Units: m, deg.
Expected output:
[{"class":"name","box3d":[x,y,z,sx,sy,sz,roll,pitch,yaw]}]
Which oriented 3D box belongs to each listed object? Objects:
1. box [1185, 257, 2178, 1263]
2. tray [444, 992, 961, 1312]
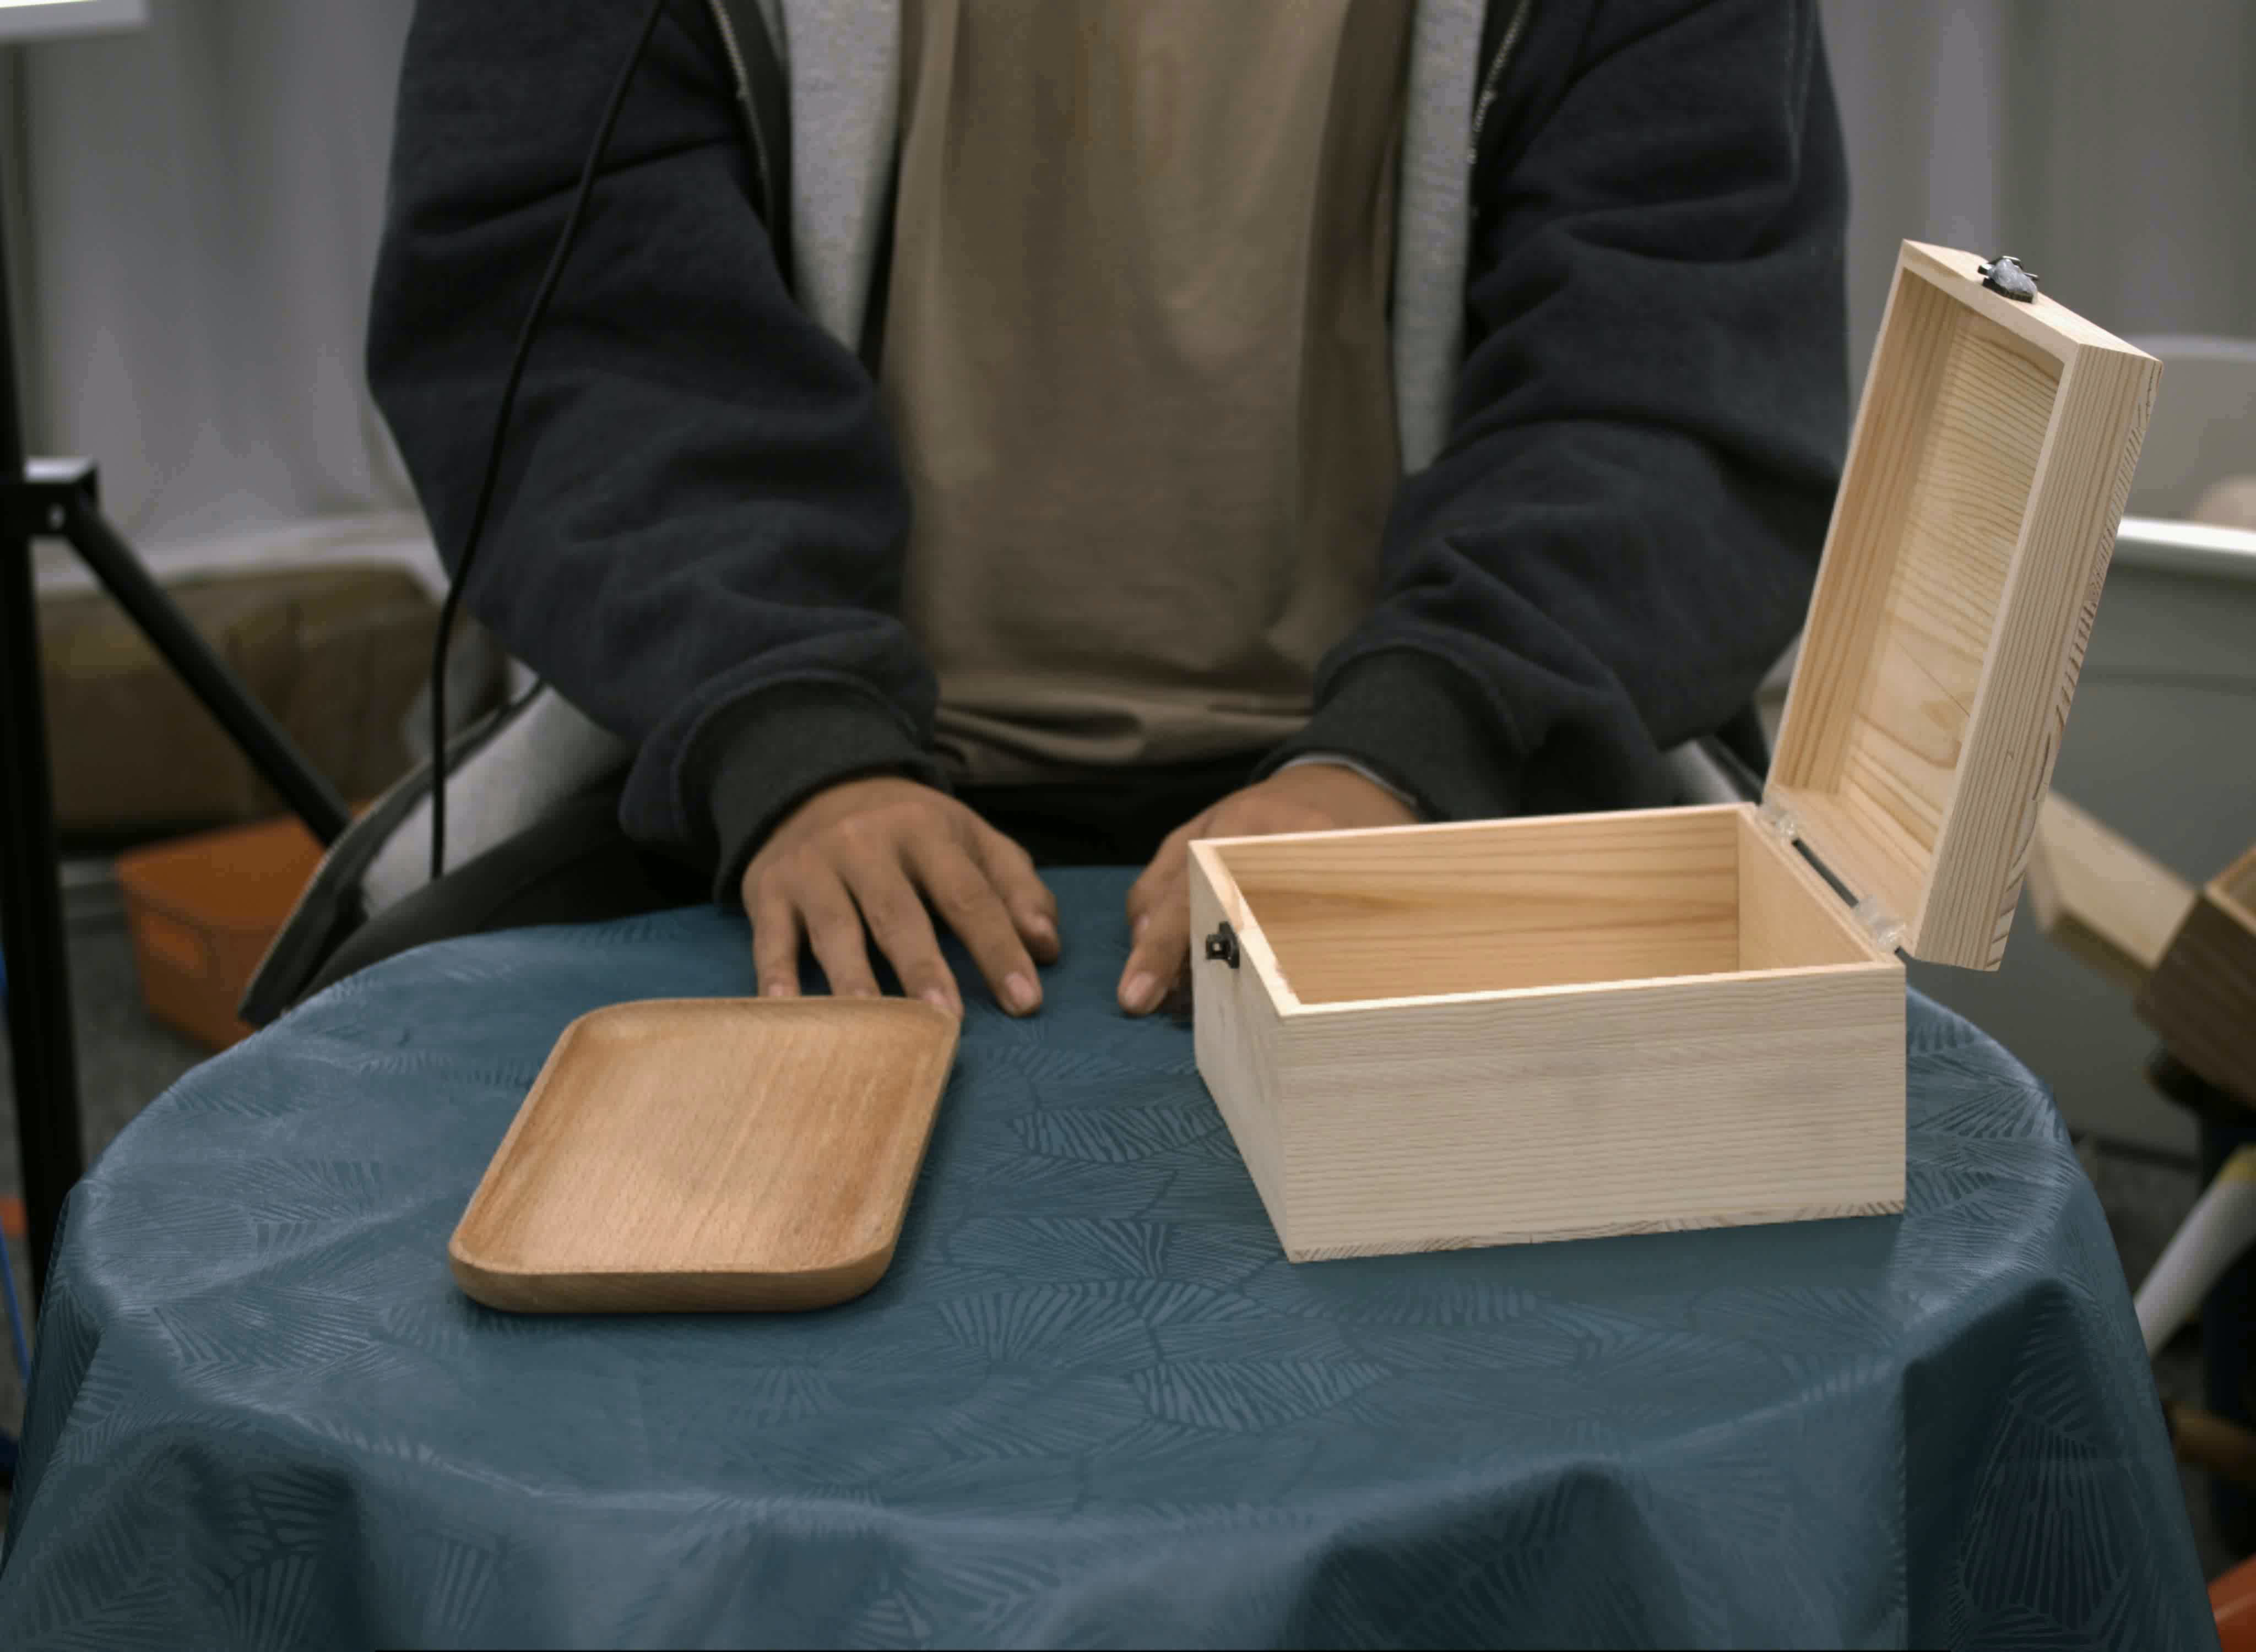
[{"class":"box","box3d":[0.153,-0.026,1.563,0.262,0.253,0.183,-3,12,-6]},{"class":"tray","box3d":[-0.123,0.095,1.594,0.130,0.023,0.250,2,16,5]}]
